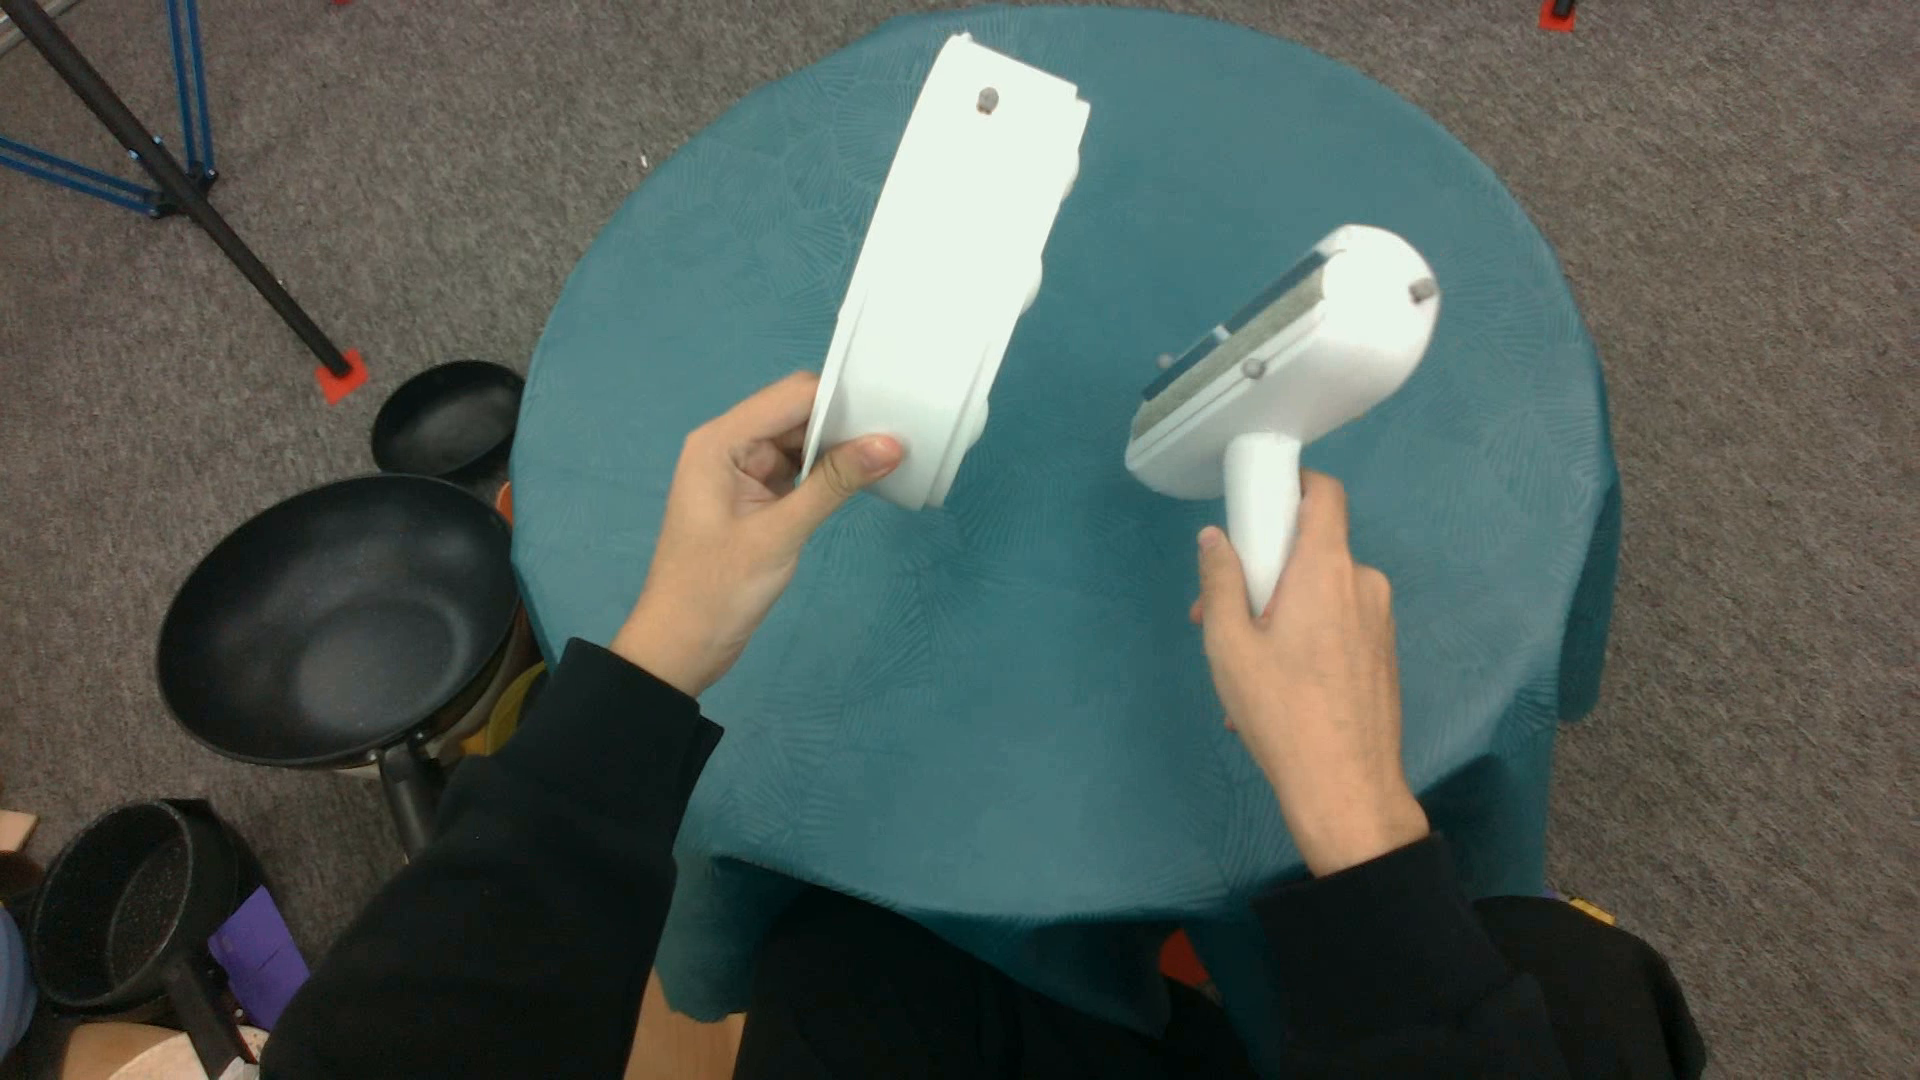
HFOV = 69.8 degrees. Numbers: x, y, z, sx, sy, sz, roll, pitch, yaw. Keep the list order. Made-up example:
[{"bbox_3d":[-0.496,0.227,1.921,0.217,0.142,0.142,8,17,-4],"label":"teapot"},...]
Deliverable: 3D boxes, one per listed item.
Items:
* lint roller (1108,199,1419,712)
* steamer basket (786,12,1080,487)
[{"bbox_3d":[0.120,-0.025,0.589,0.074,0.192,0.193,17,74,-20],"label":"lint roller"},{"bbox_3d":[-0.010,-0.121,0.605,0.069,0.201,0.231,21,59,-4],"label":"steamer basket"}]
